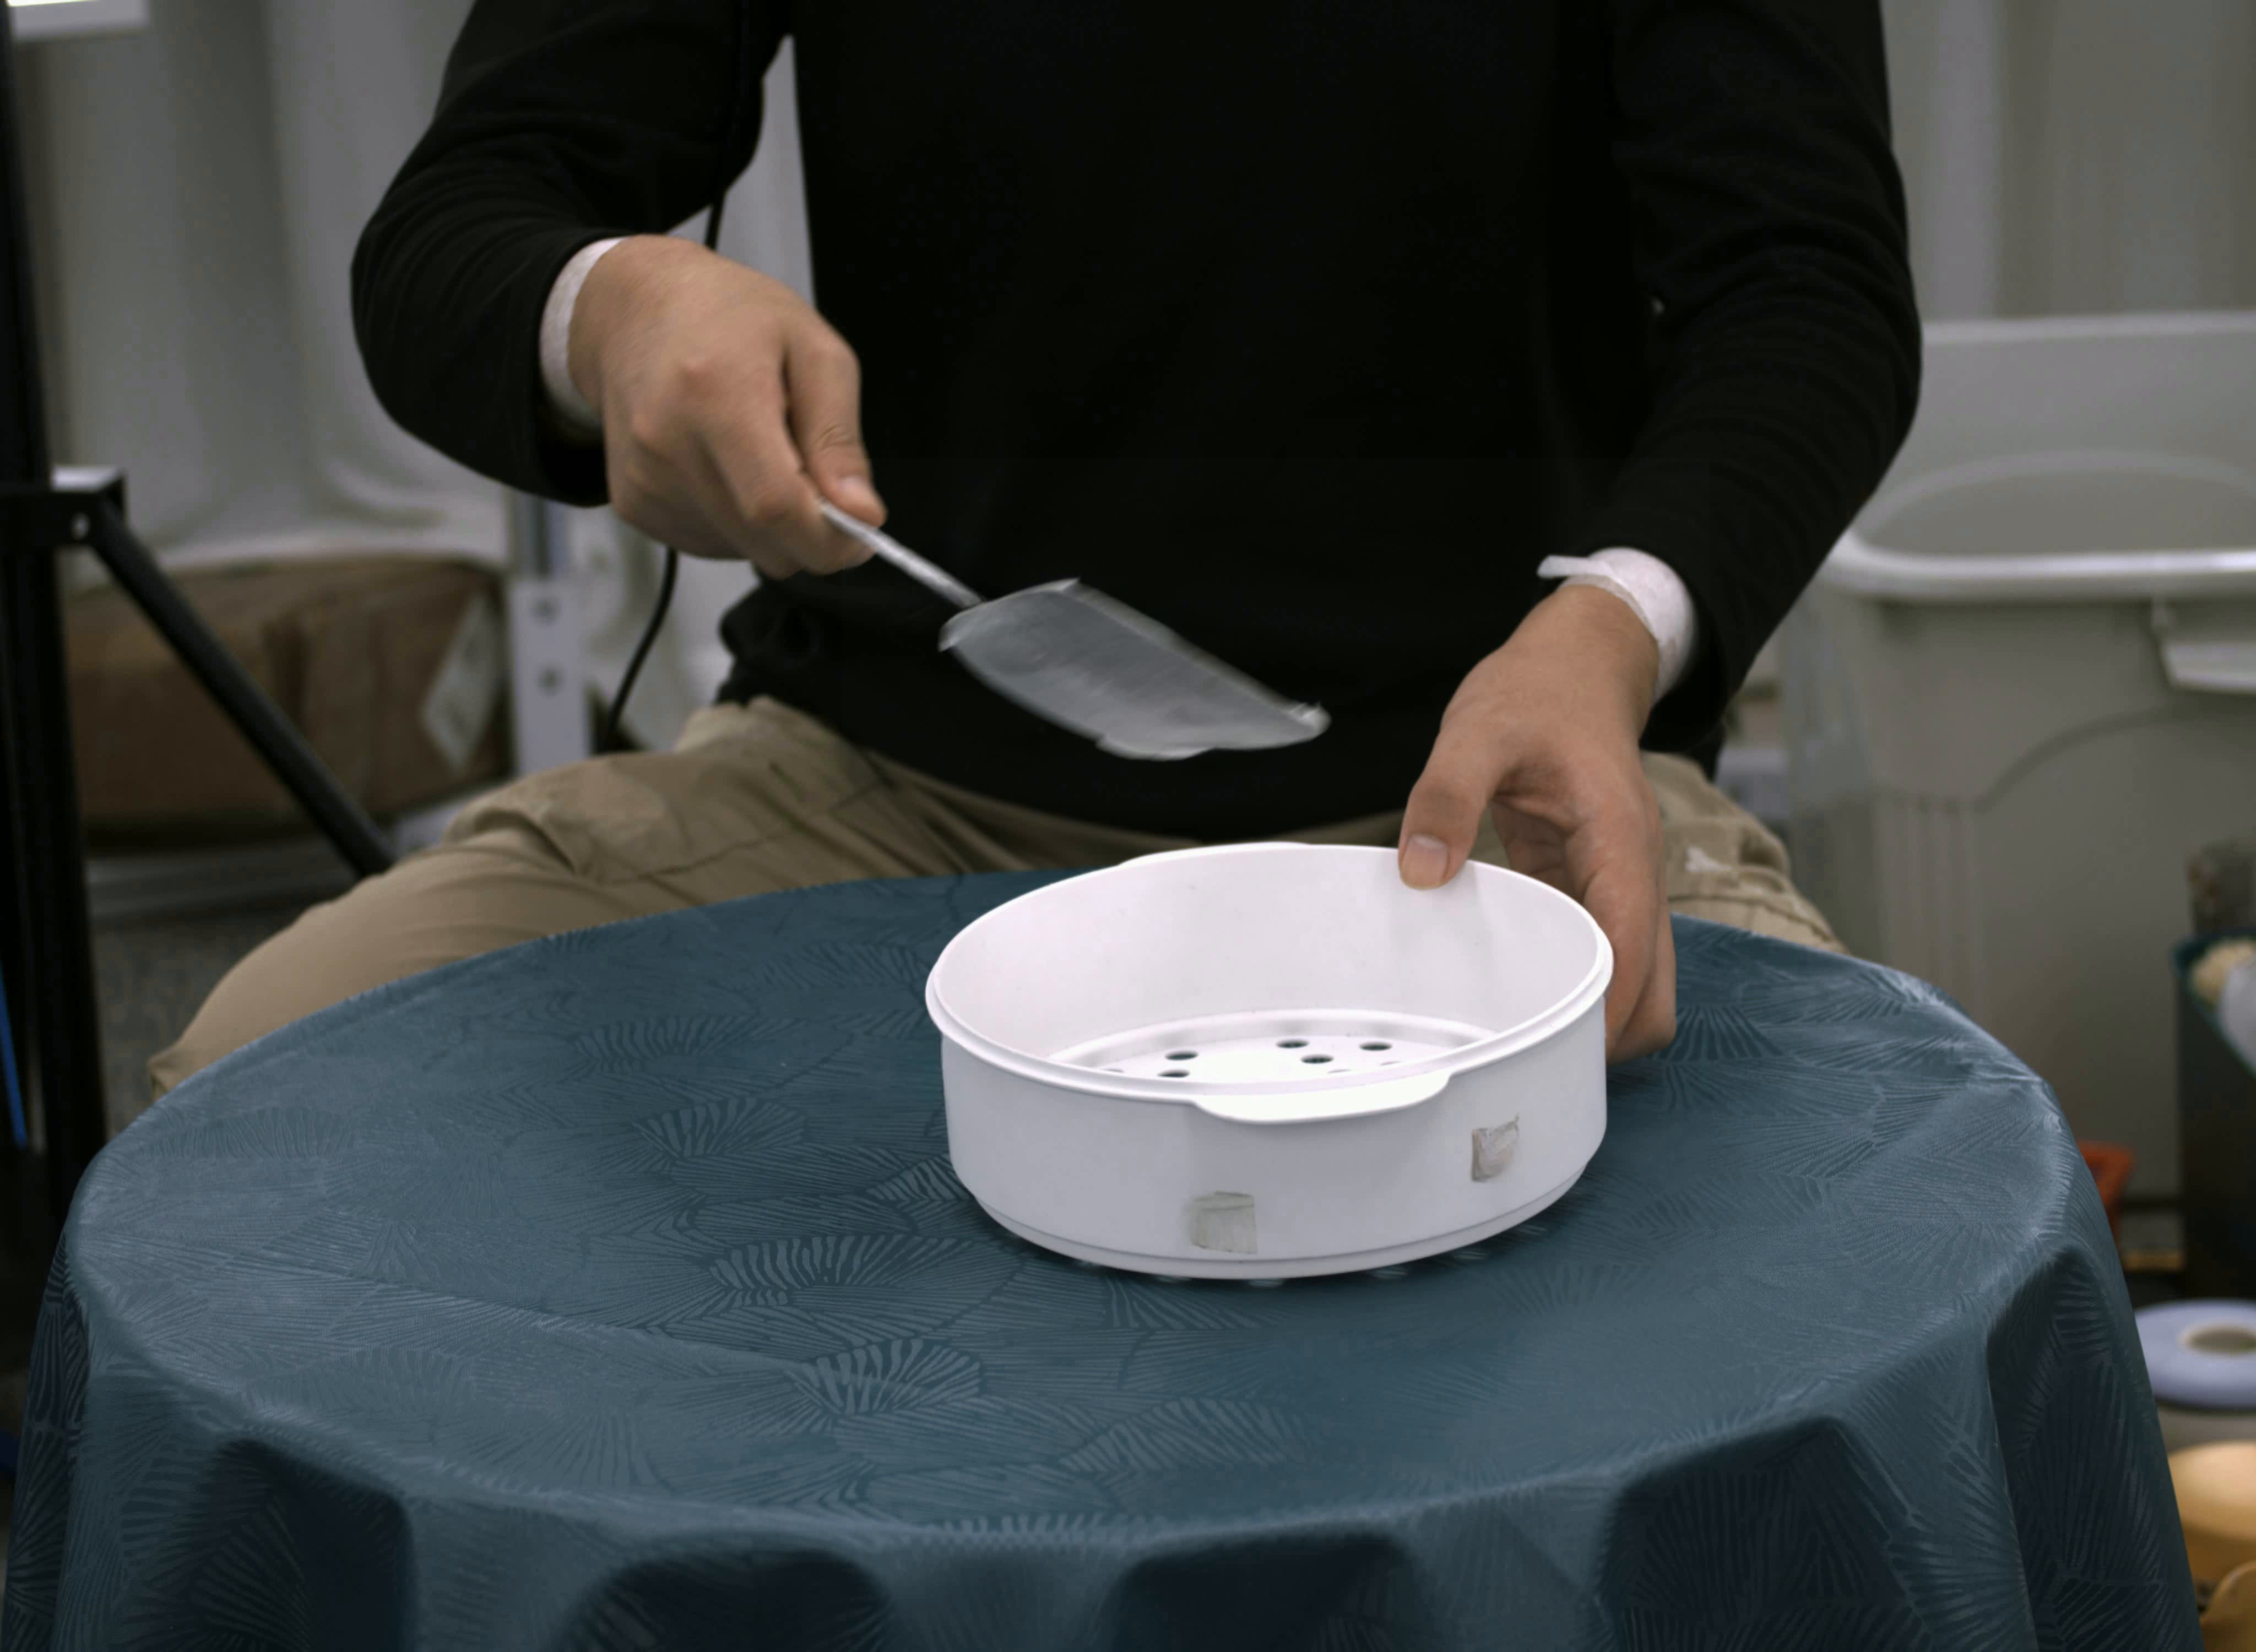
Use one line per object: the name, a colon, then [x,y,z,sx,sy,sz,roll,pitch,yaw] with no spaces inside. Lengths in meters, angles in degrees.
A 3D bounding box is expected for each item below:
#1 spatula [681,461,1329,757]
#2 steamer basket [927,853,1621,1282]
spatula: [-0.060,-0.077,1.573,0.096,0.045,0.372,27,4,-30]
steamer basket: [0.043,0.070,1.546,0.200,0.069,0.232,-5,18,-5]
